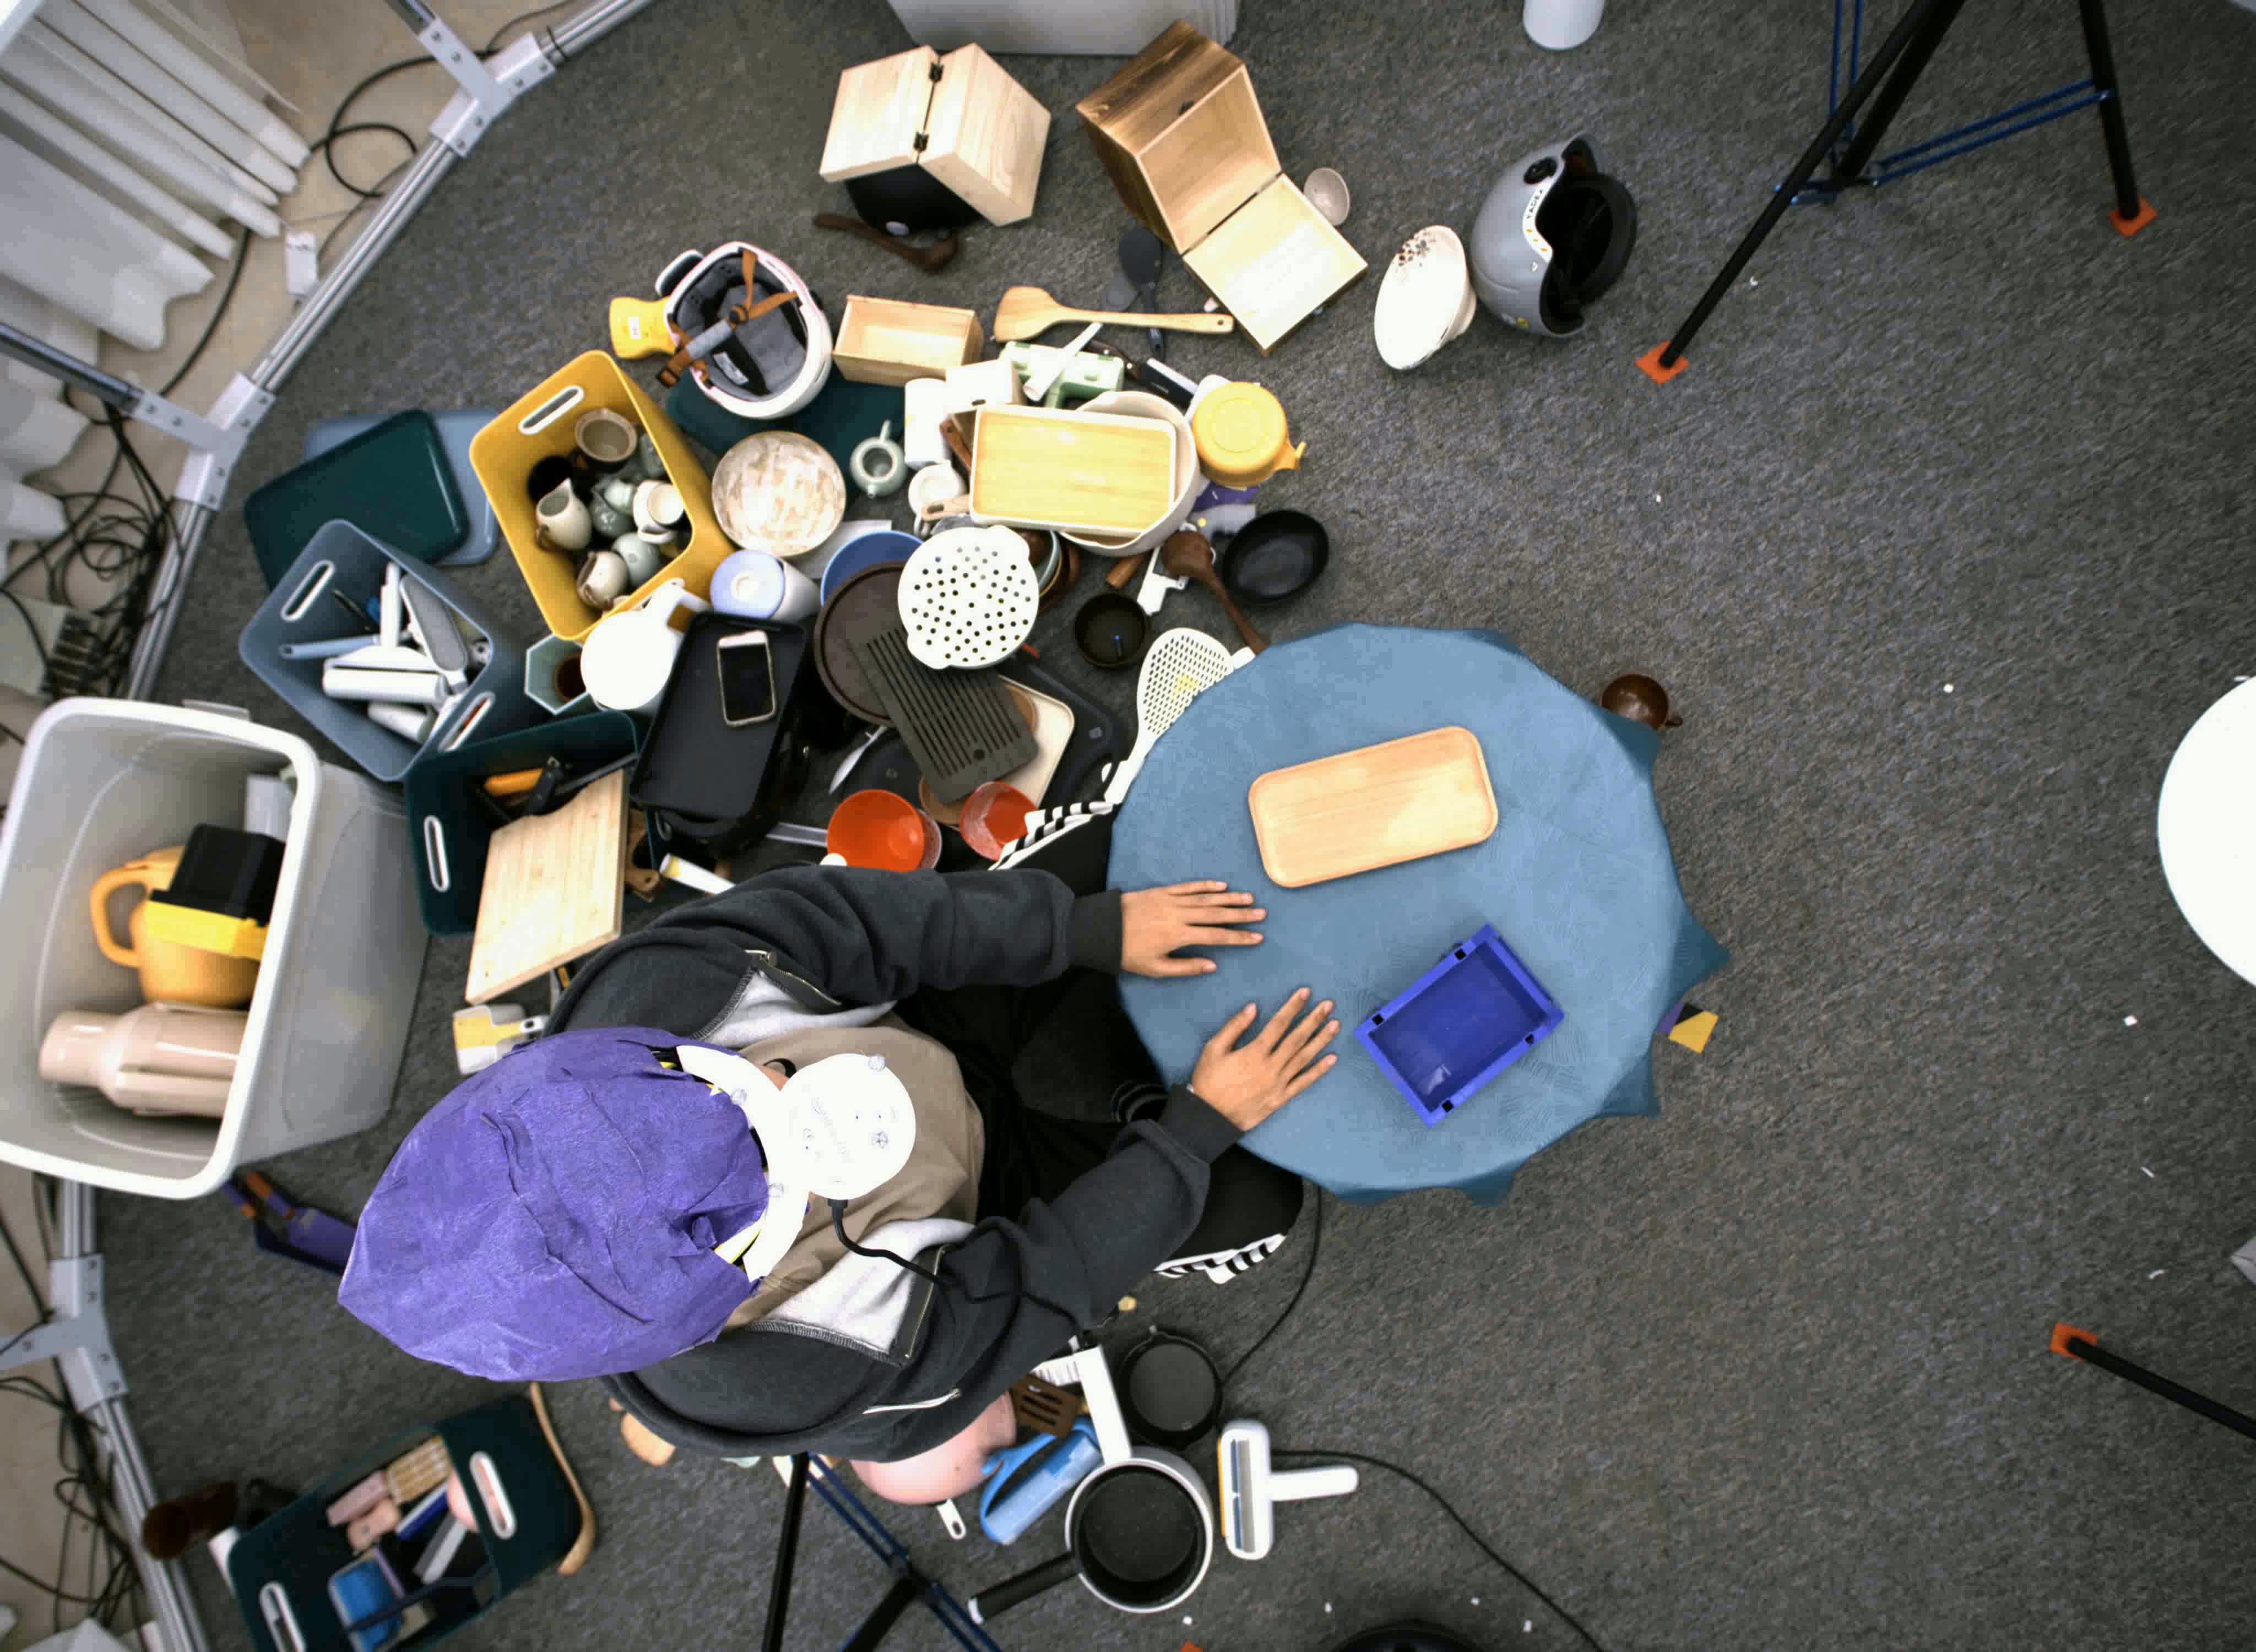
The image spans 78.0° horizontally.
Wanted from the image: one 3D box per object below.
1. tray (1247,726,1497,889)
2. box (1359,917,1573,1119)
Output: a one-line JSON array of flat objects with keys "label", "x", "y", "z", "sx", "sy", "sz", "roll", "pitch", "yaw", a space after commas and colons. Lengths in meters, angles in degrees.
[{"label": "tray", "x": 0.257, "y": -0.020, "z": 1.458, "sx": 0.252, "sy": 0.023, "sz": 0.129, "roll": -14, "pitch": 82, "yaw": 10}, {"label": "box", "x": 0.342, "y": 0.188, "z": 1.398, "sx": 0.181, "sy": 0.082, "sz": 0.124, "roll": -38, "pitch": 80, "yaw": 9}]
